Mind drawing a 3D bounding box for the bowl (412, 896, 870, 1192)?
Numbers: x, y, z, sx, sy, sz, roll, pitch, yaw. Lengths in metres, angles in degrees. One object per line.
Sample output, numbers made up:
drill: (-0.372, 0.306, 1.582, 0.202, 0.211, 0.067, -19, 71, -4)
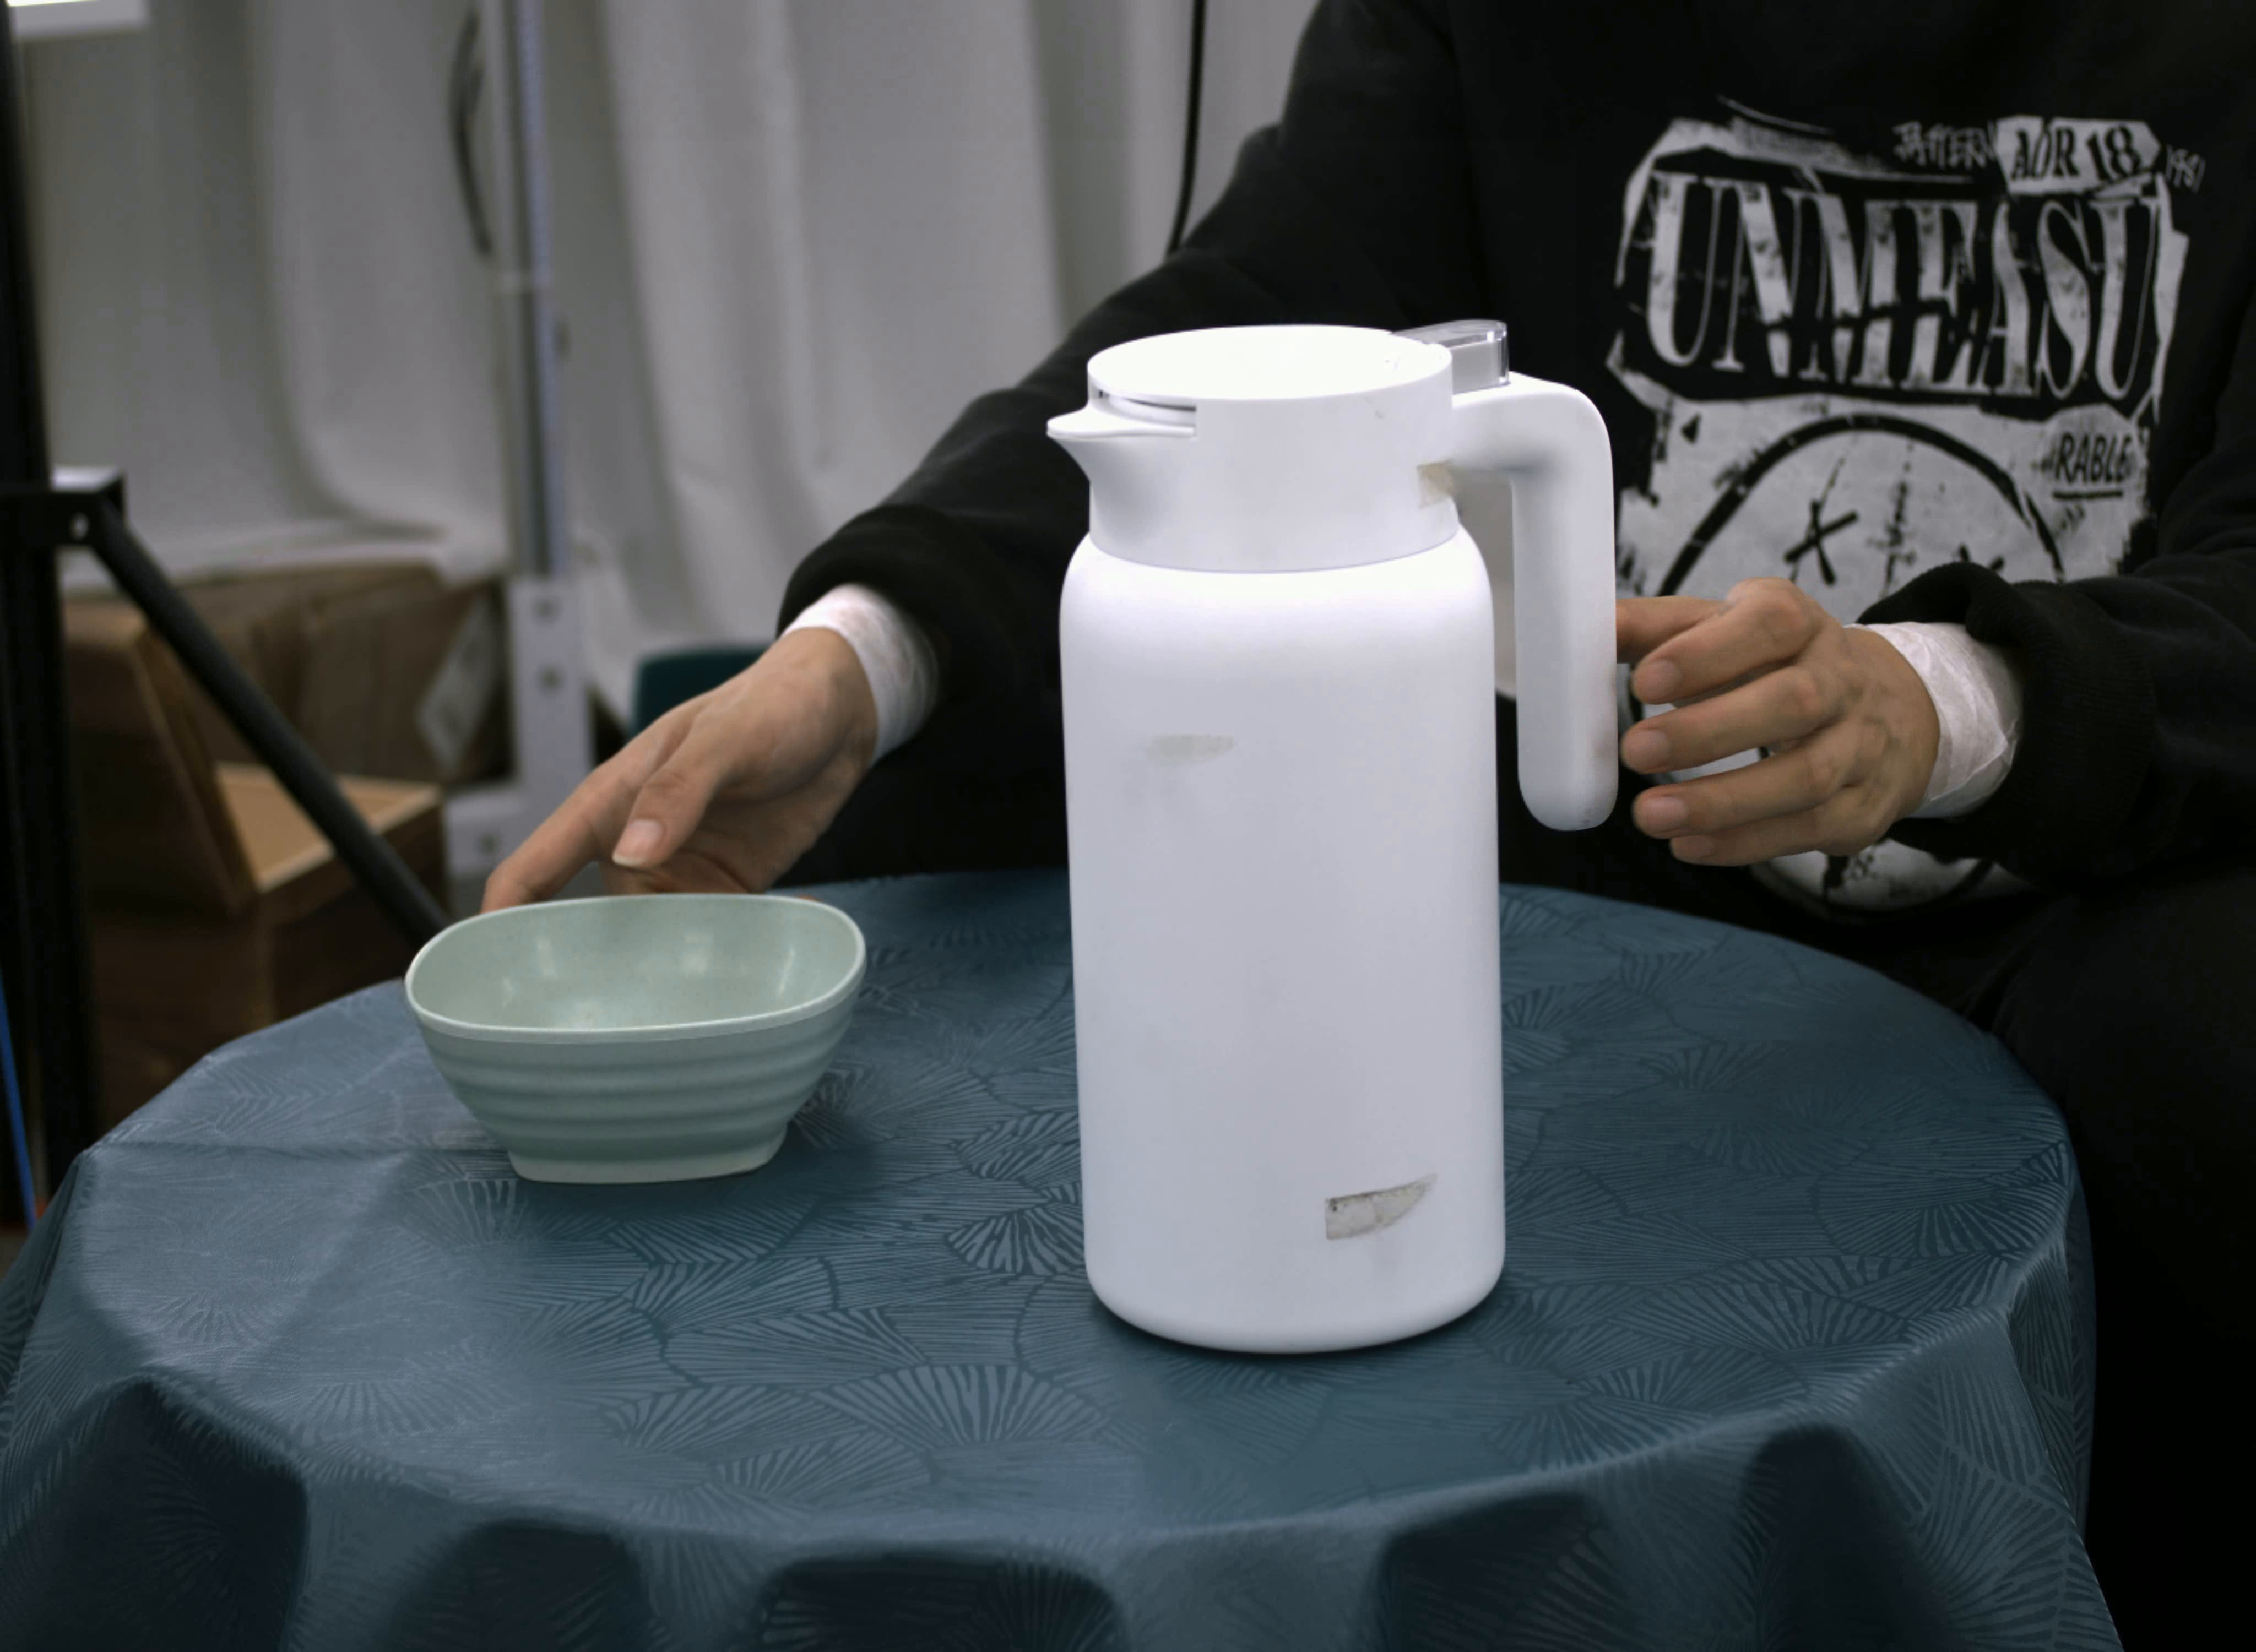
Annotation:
bowl: (-0.146, 0.069, 1.619, 0.150, 0.058, 0.152, -3, 16, -1)

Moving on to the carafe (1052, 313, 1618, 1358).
carafe: (0.057, -0.002, 1.445, 0.169, 0.269, 0.126, -11, 16, -30)
